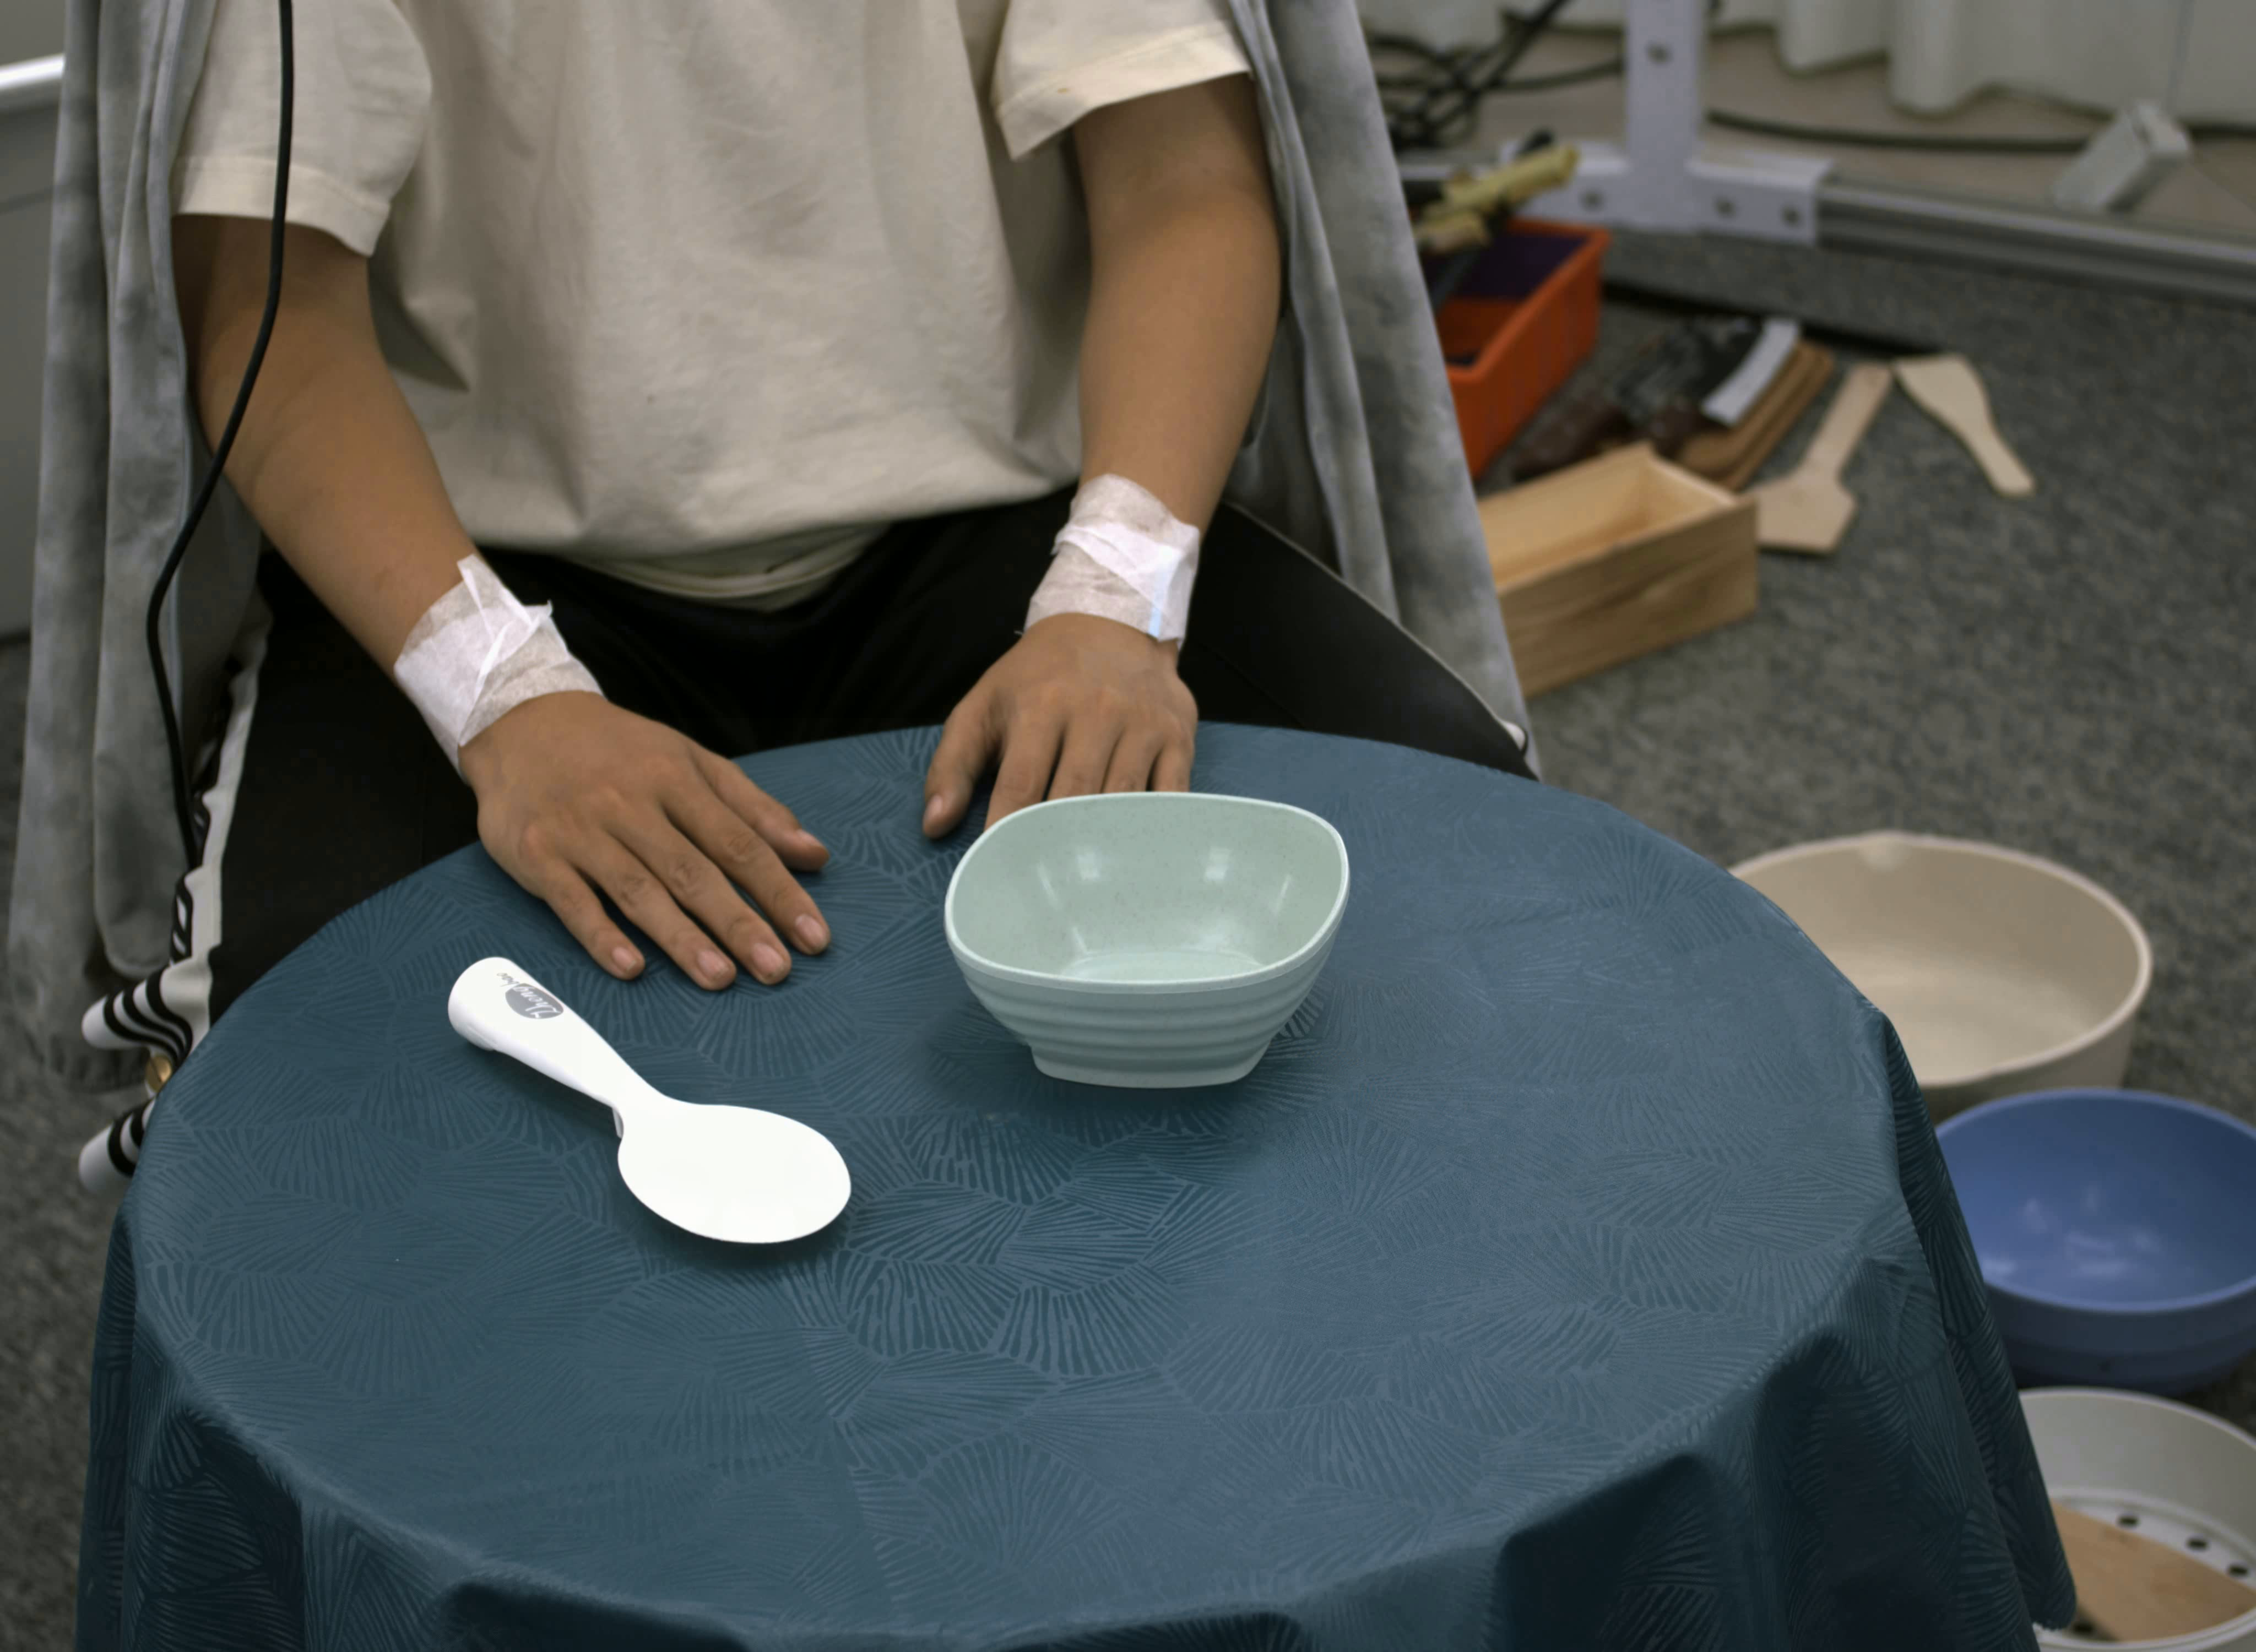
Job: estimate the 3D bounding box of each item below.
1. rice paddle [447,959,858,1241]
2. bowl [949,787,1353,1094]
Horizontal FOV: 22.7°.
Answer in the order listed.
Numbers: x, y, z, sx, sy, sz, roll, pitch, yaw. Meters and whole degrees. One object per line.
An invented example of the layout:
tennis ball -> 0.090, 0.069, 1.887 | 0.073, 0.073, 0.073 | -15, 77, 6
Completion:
rice paddle -> -0.163, 0.094, 1.897 | 0.069, 0.029, 0.205 | -23, 33, -31
bowl -> 0.010, 0.045, 1.946 | 0.150, 0.058, 0.154 | -3, 29, 2
